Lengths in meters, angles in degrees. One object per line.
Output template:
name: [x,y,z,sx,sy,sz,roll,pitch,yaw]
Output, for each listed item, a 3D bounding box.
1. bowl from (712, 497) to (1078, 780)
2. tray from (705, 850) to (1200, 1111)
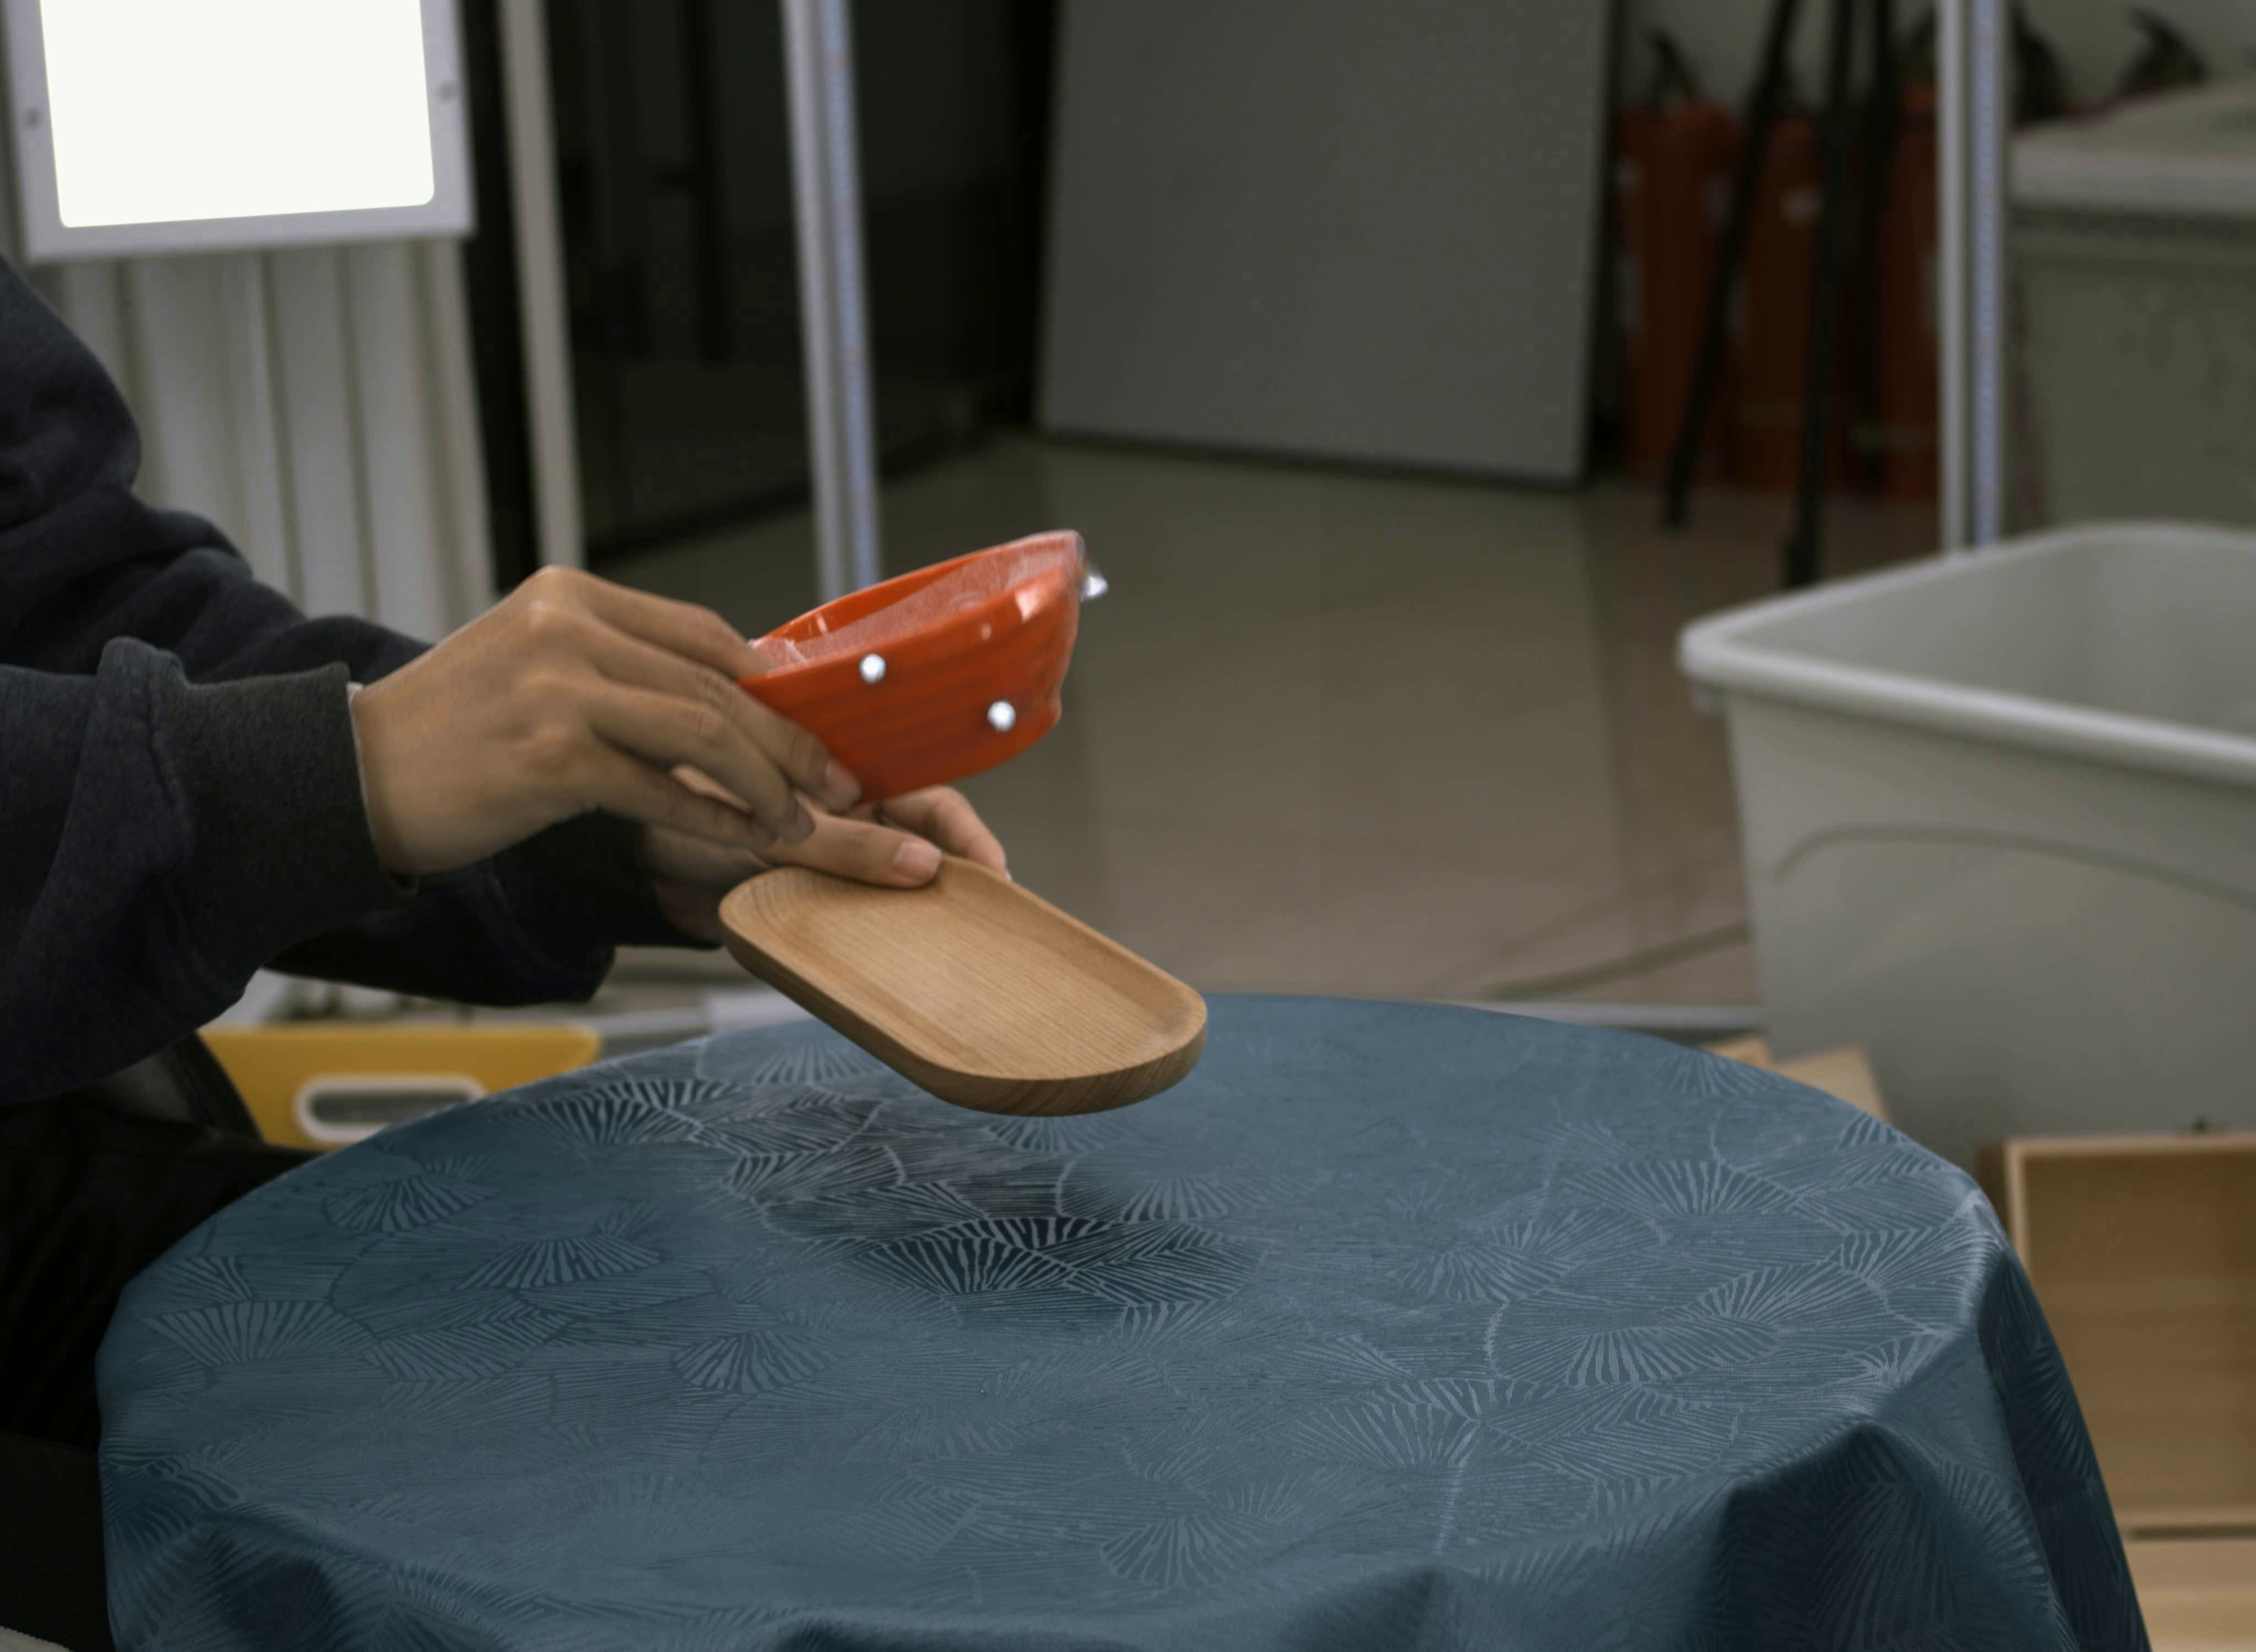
bowl: [-0.061,-0.051,1.597,0.118,0.052,0.119,-21,10,3]
tray: [-0.059,0.049,1.772,0.099,0.020,0.234,-13,20,-27]
